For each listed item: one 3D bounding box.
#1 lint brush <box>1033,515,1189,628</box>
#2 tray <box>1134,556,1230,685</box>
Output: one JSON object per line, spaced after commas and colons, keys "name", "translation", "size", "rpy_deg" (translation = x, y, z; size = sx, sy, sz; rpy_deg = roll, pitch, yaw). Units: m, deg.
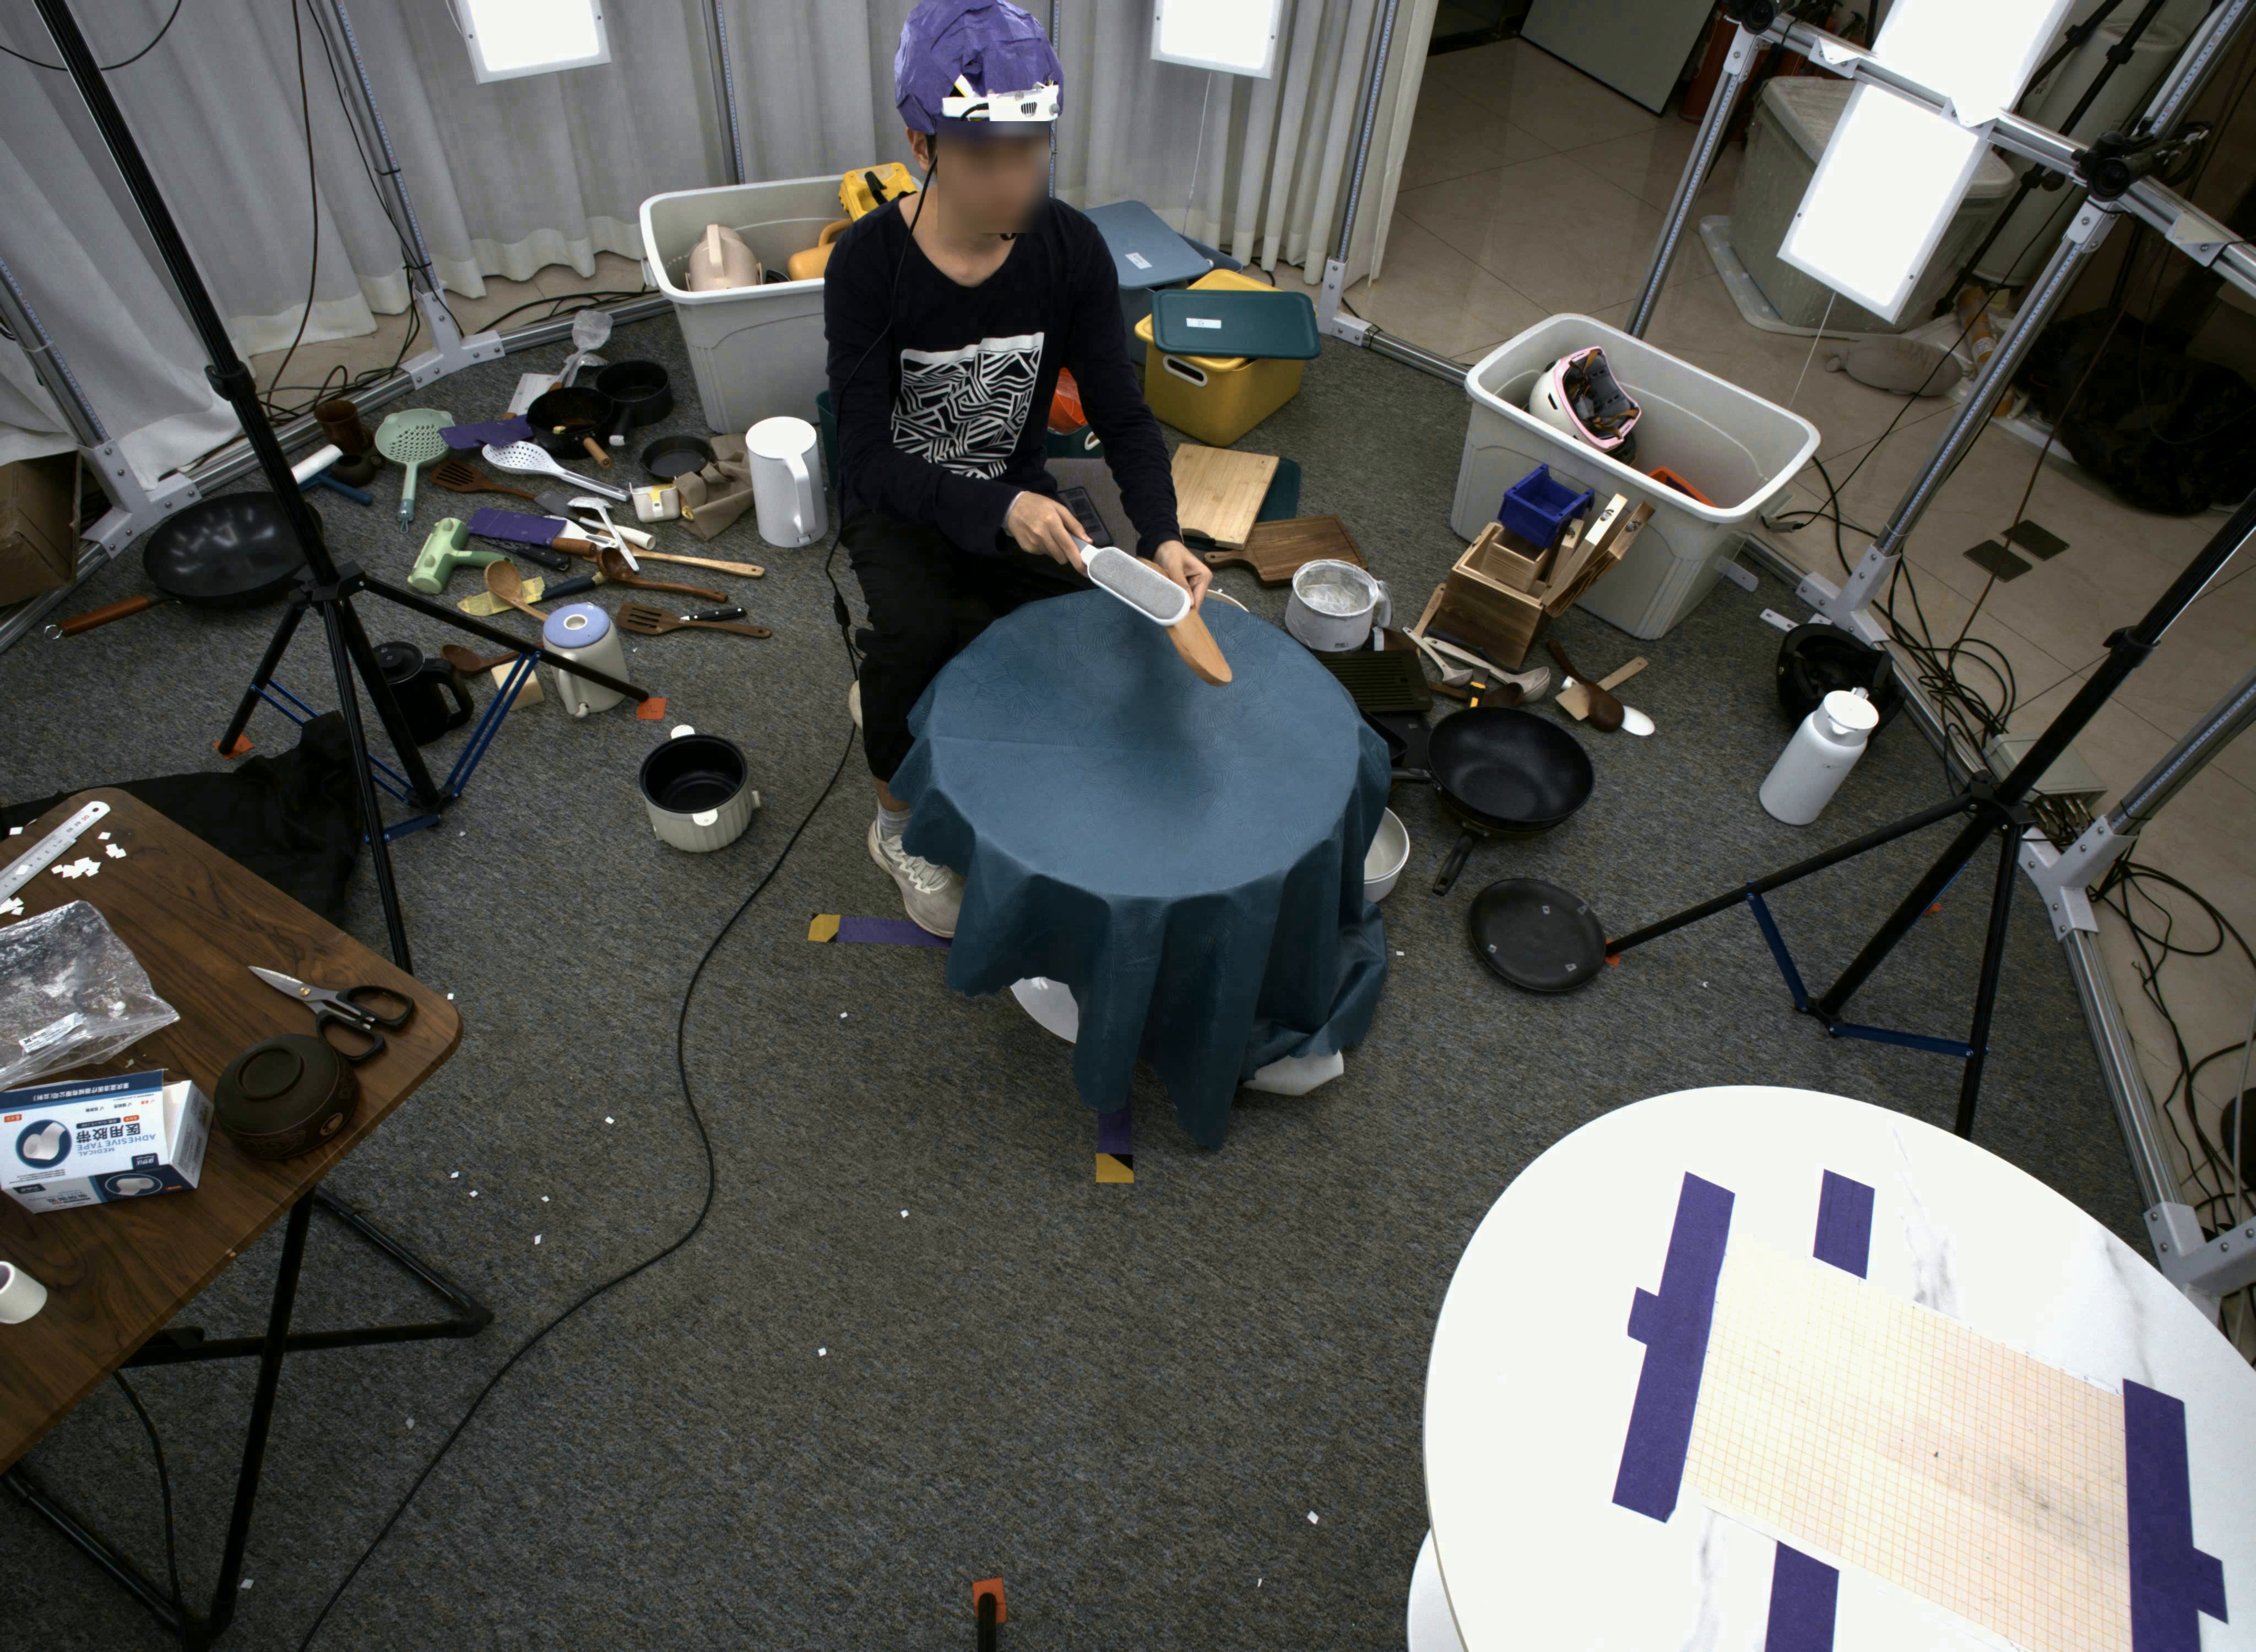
{"name": "lint brush", "translation": [-0.028, -0.353, 1.742], "size": [0.314, 0.020, 0.060], "rpy_deg": [39, 93, 34]}
{"name": "tray", "translation": [0.070, -0.277, 1.730], "size": [0.100, 0.020, 0.236], "rpy_deg": [20, 35, -49]}
